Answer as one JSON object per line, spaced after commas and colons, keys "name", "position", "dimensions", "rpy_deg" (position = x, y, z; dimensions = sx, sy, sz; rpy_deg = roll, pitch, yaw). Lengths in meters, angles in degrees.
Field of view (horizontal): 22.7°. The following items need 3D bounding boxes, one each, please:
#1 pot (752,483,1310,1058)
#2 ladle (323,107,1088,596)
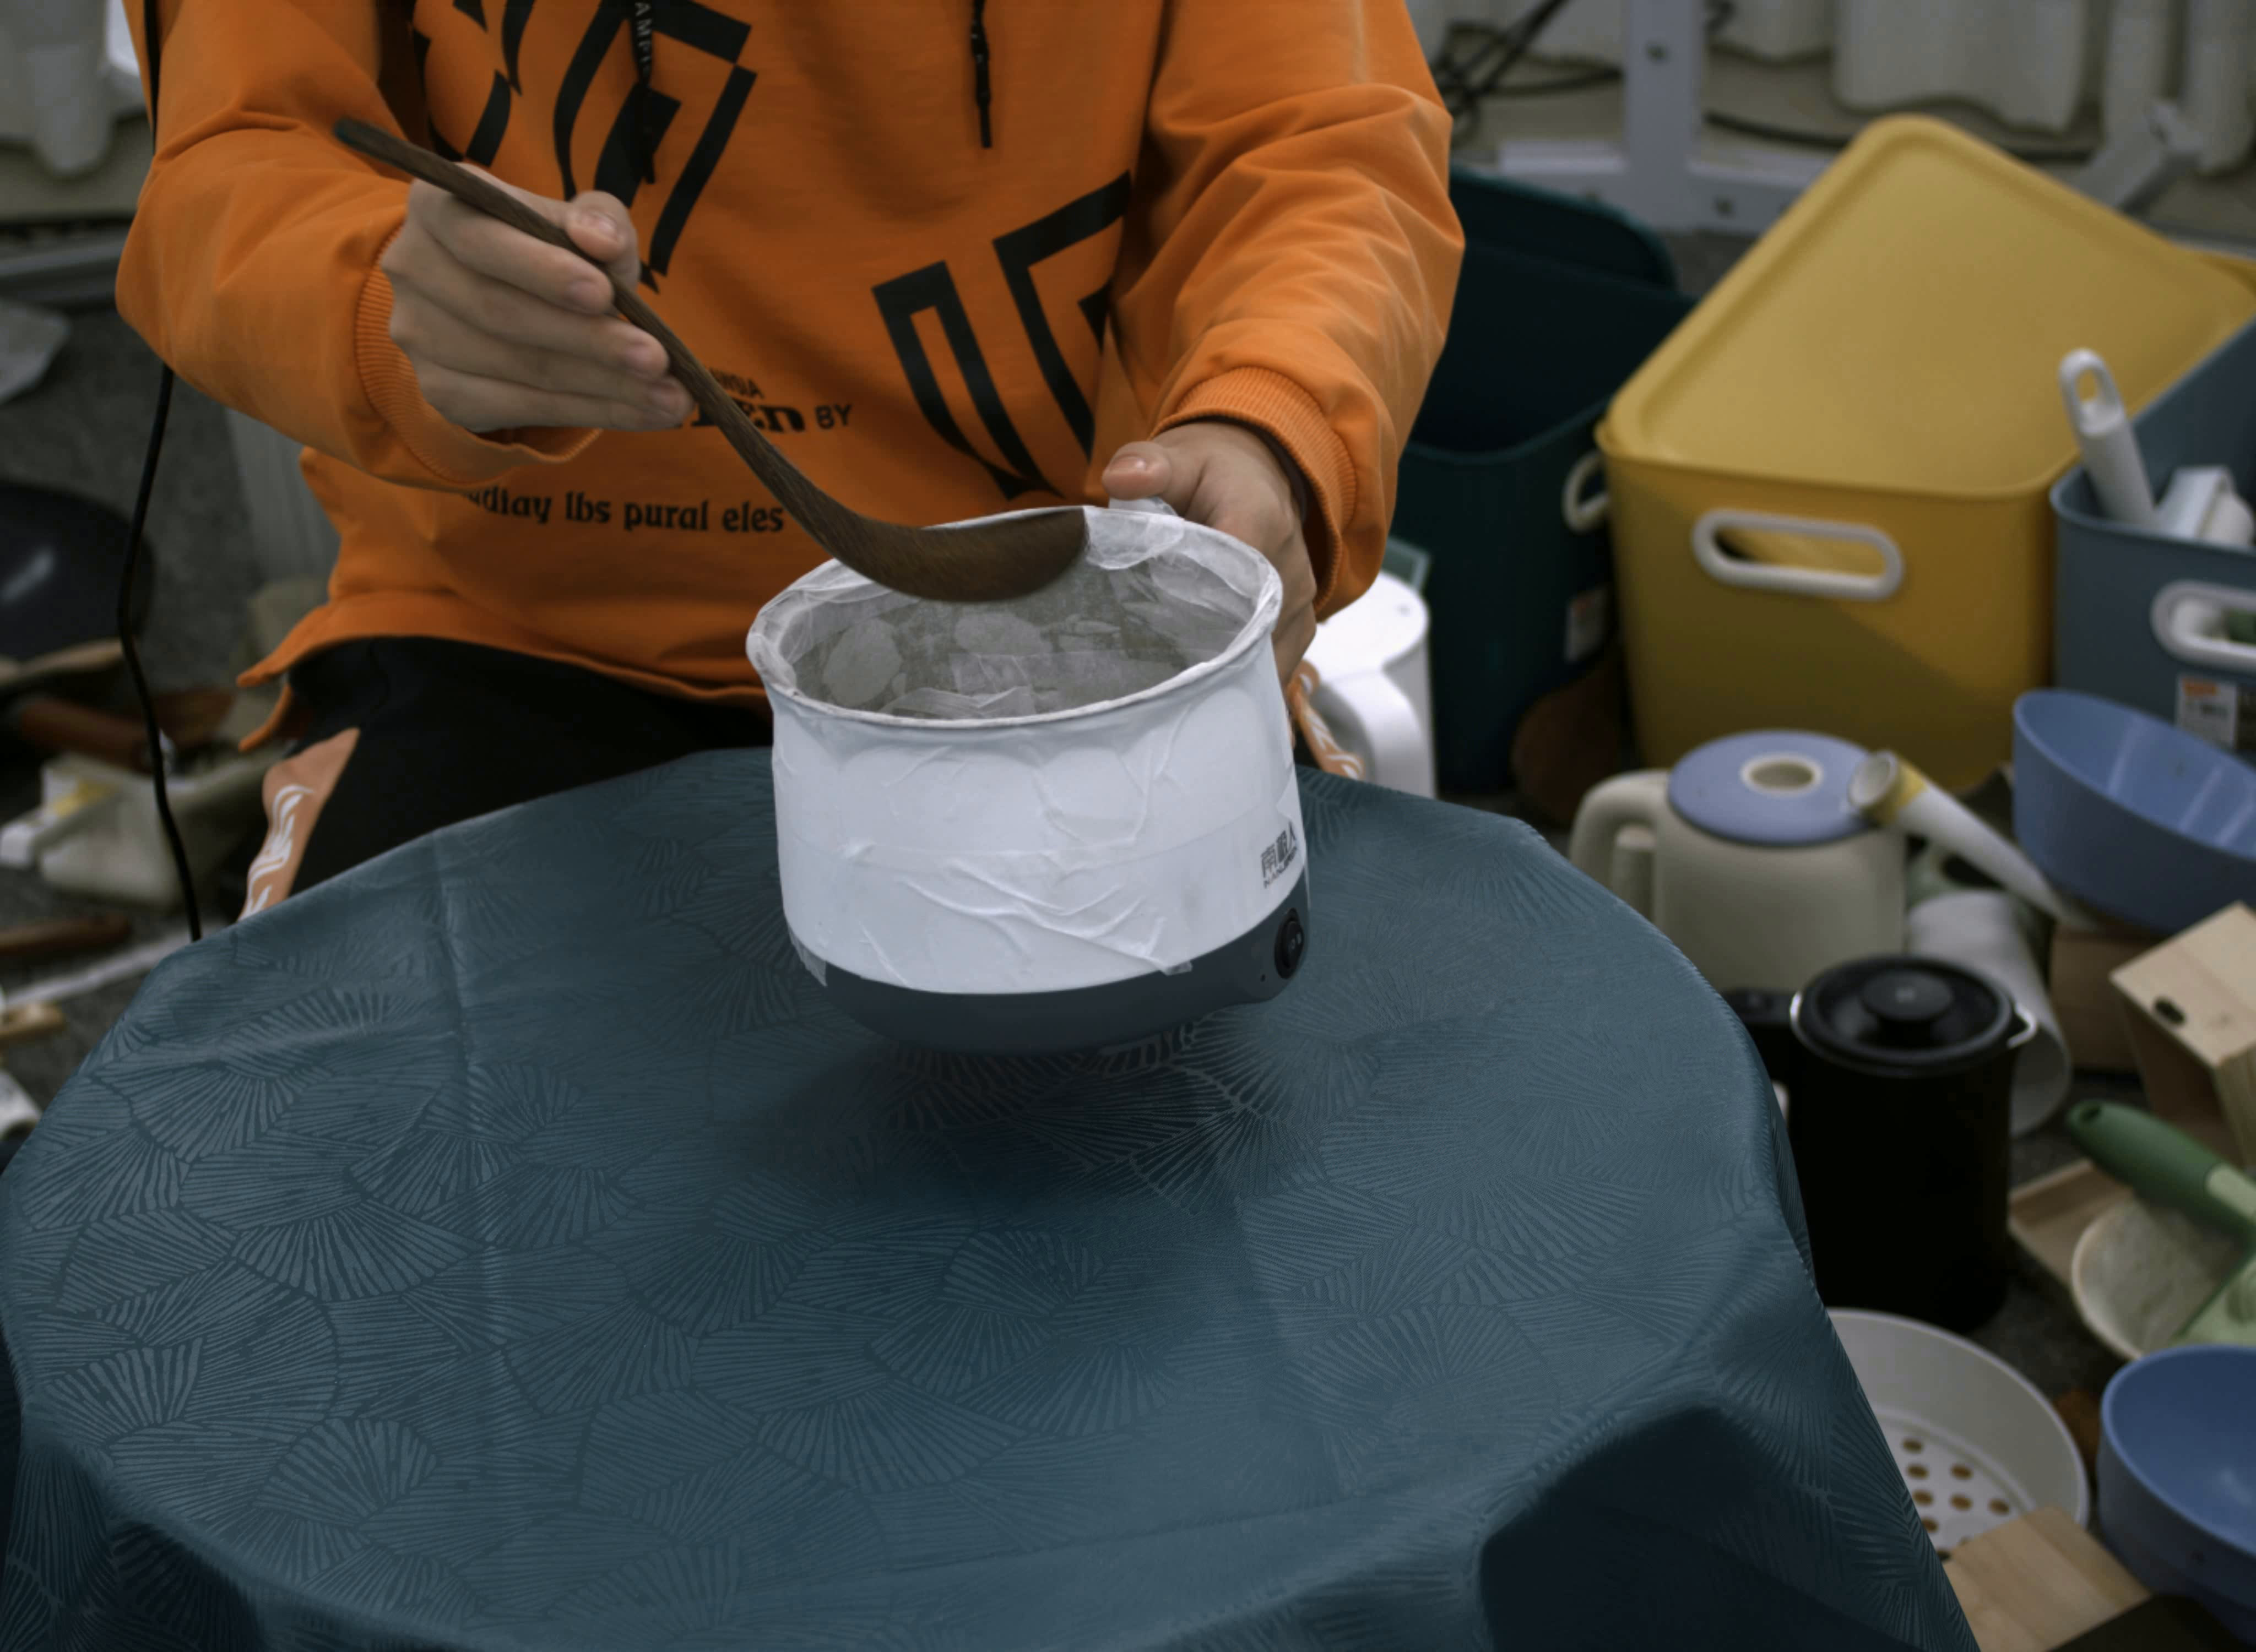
{"name": "pot", "position": [-0.021, -0.025, 1.895], "dimensions": [0.177, 0.135, 0.237], "rpy_deg": [5, 26, 21]}
{"name": "ladle", "position": [-0.133, -0.165, 1.827], "dimensions": [0.071, 0.273, 0.076], "rpy_deg": [-50, 7, -5]}
